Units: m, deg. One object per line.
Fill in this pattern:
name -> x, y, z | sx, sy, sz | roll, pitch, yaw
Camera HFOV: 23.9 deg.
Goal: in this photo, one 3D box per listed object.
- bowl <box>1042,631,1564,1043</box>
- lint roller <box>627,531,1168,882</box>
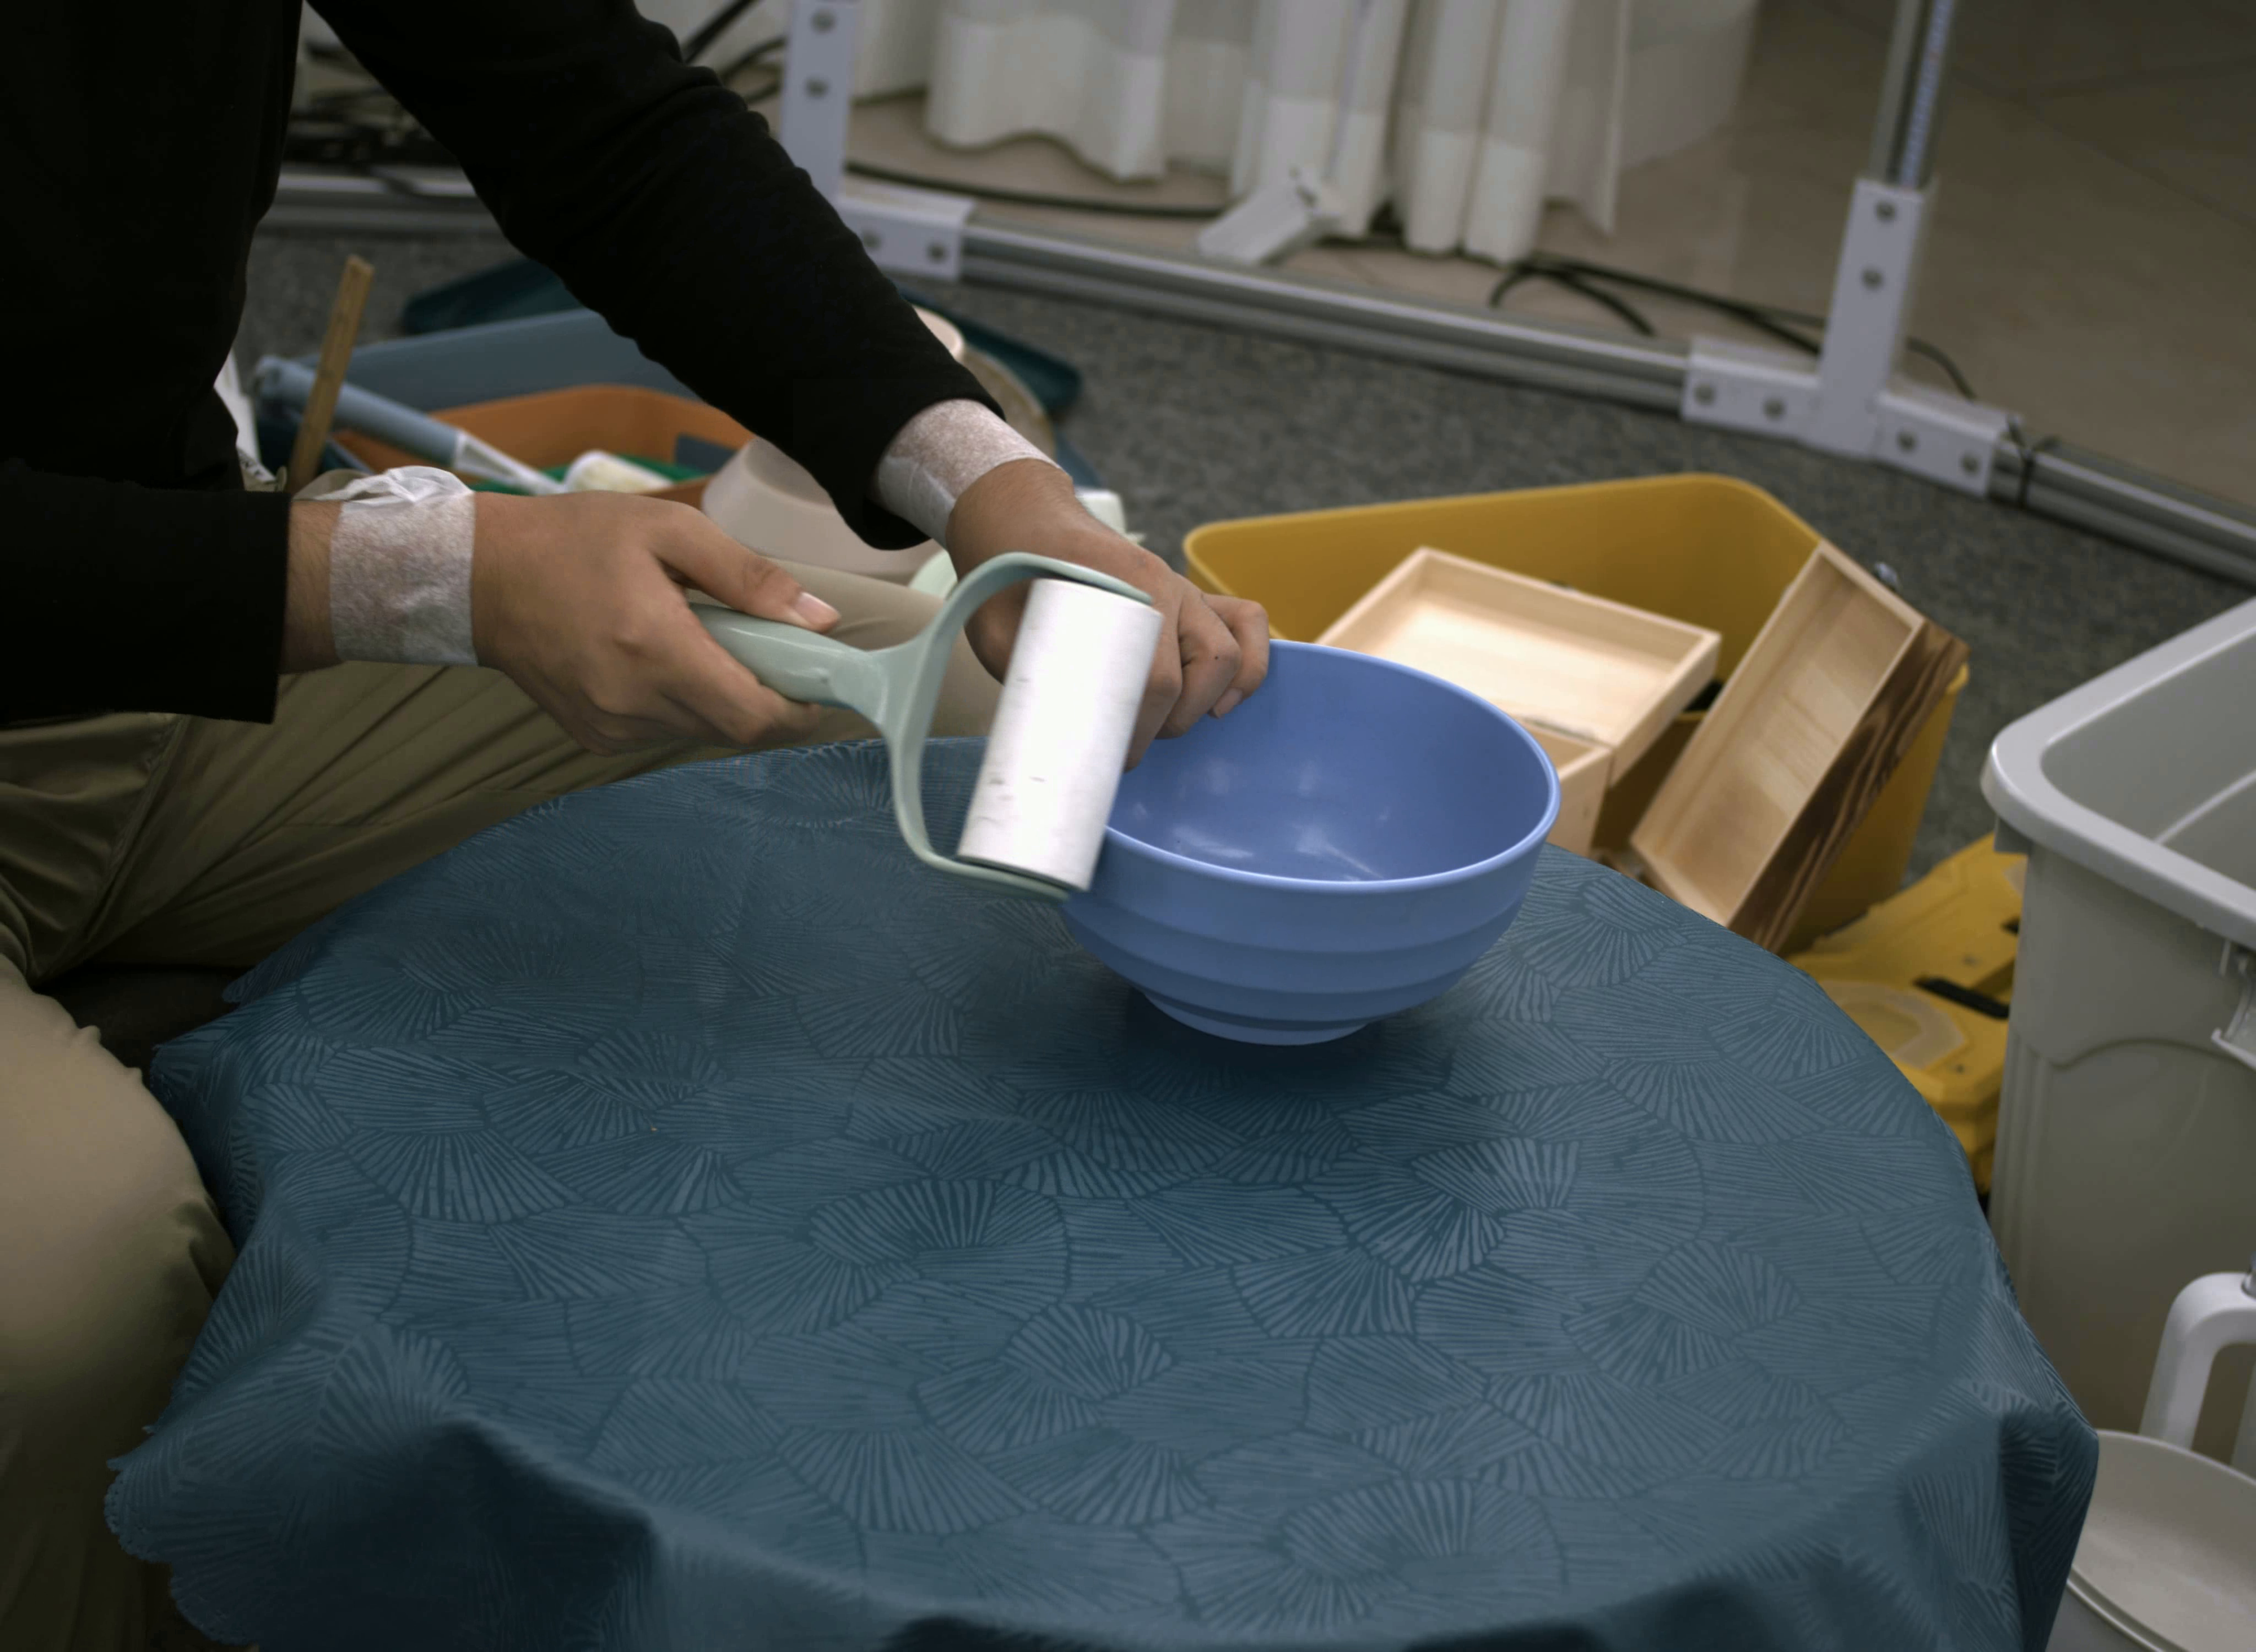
bowl -> 0.053, 0.015, 1.920 | 0.196, 0.095, 0.198 | 5, 28, -3
lint roller -> -0.088, -0.055, 1.847 | 0.198, 0.117, 0.048 | 13, -5, 18
